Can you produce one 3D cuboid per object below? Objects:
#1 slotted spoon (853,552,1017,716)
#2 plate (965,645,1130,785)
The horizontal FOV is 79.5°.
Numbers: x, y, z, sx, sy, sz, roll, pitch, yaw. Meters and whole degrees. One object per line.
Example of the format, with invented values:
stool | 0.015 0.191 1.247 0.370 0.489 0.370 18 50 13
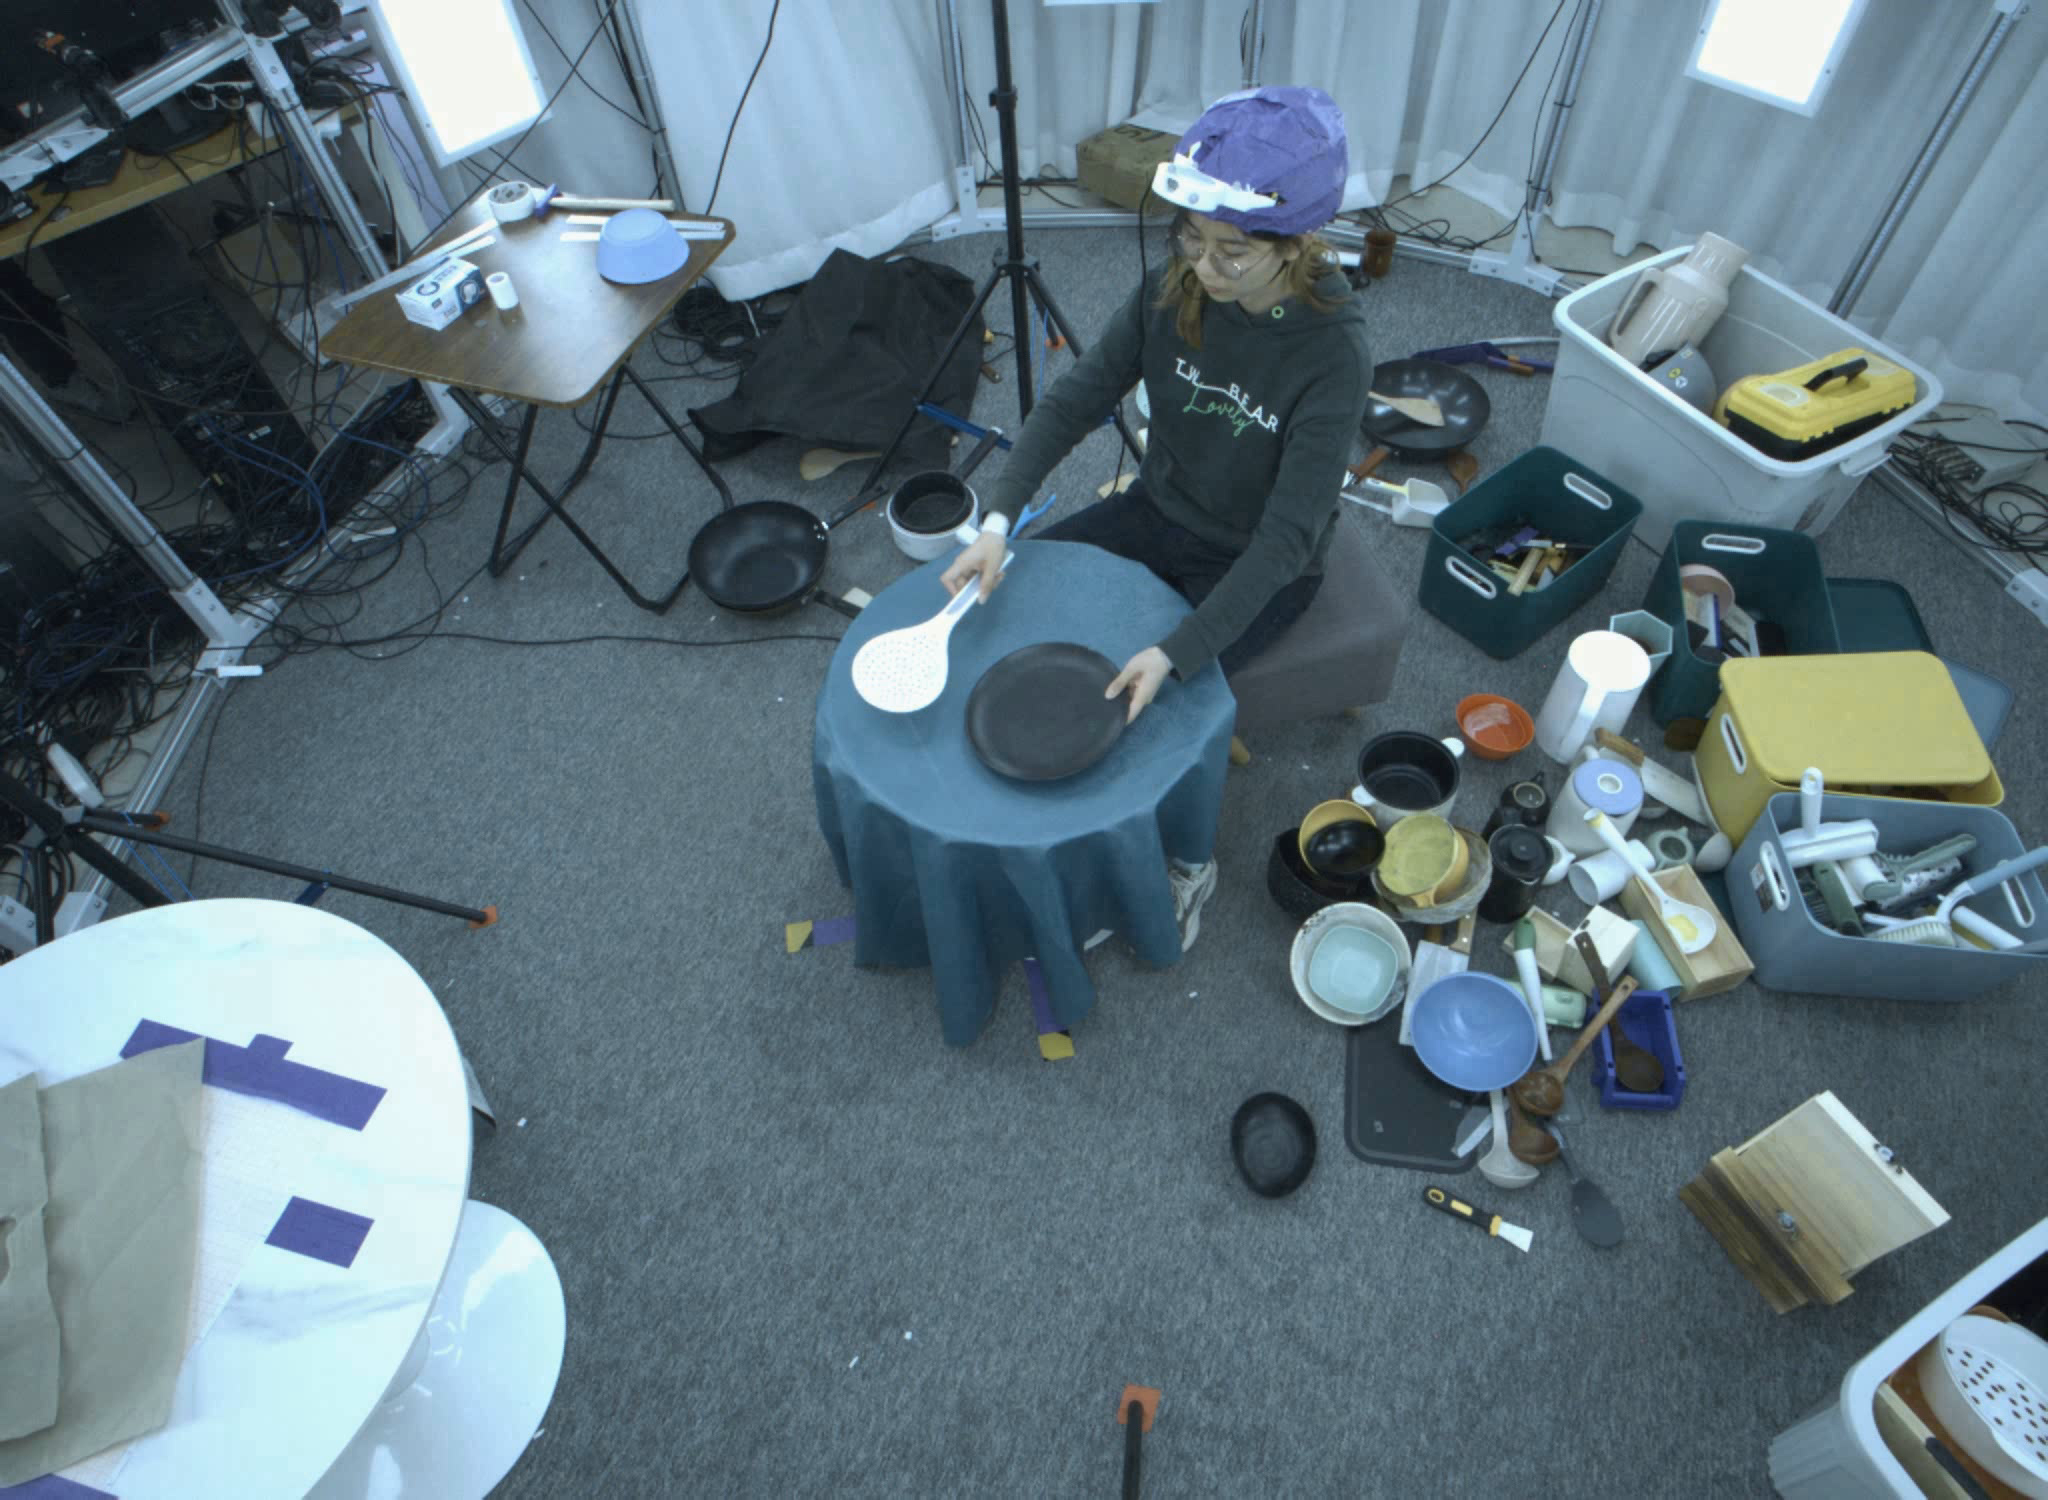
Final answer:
slotted spoon | -0.121 -0.182 1.844 0.135 0.046 0.351 34 68 9
plate | 0.035 -0.050 1.794 0.243 0.024 0.242 -4 58 8
